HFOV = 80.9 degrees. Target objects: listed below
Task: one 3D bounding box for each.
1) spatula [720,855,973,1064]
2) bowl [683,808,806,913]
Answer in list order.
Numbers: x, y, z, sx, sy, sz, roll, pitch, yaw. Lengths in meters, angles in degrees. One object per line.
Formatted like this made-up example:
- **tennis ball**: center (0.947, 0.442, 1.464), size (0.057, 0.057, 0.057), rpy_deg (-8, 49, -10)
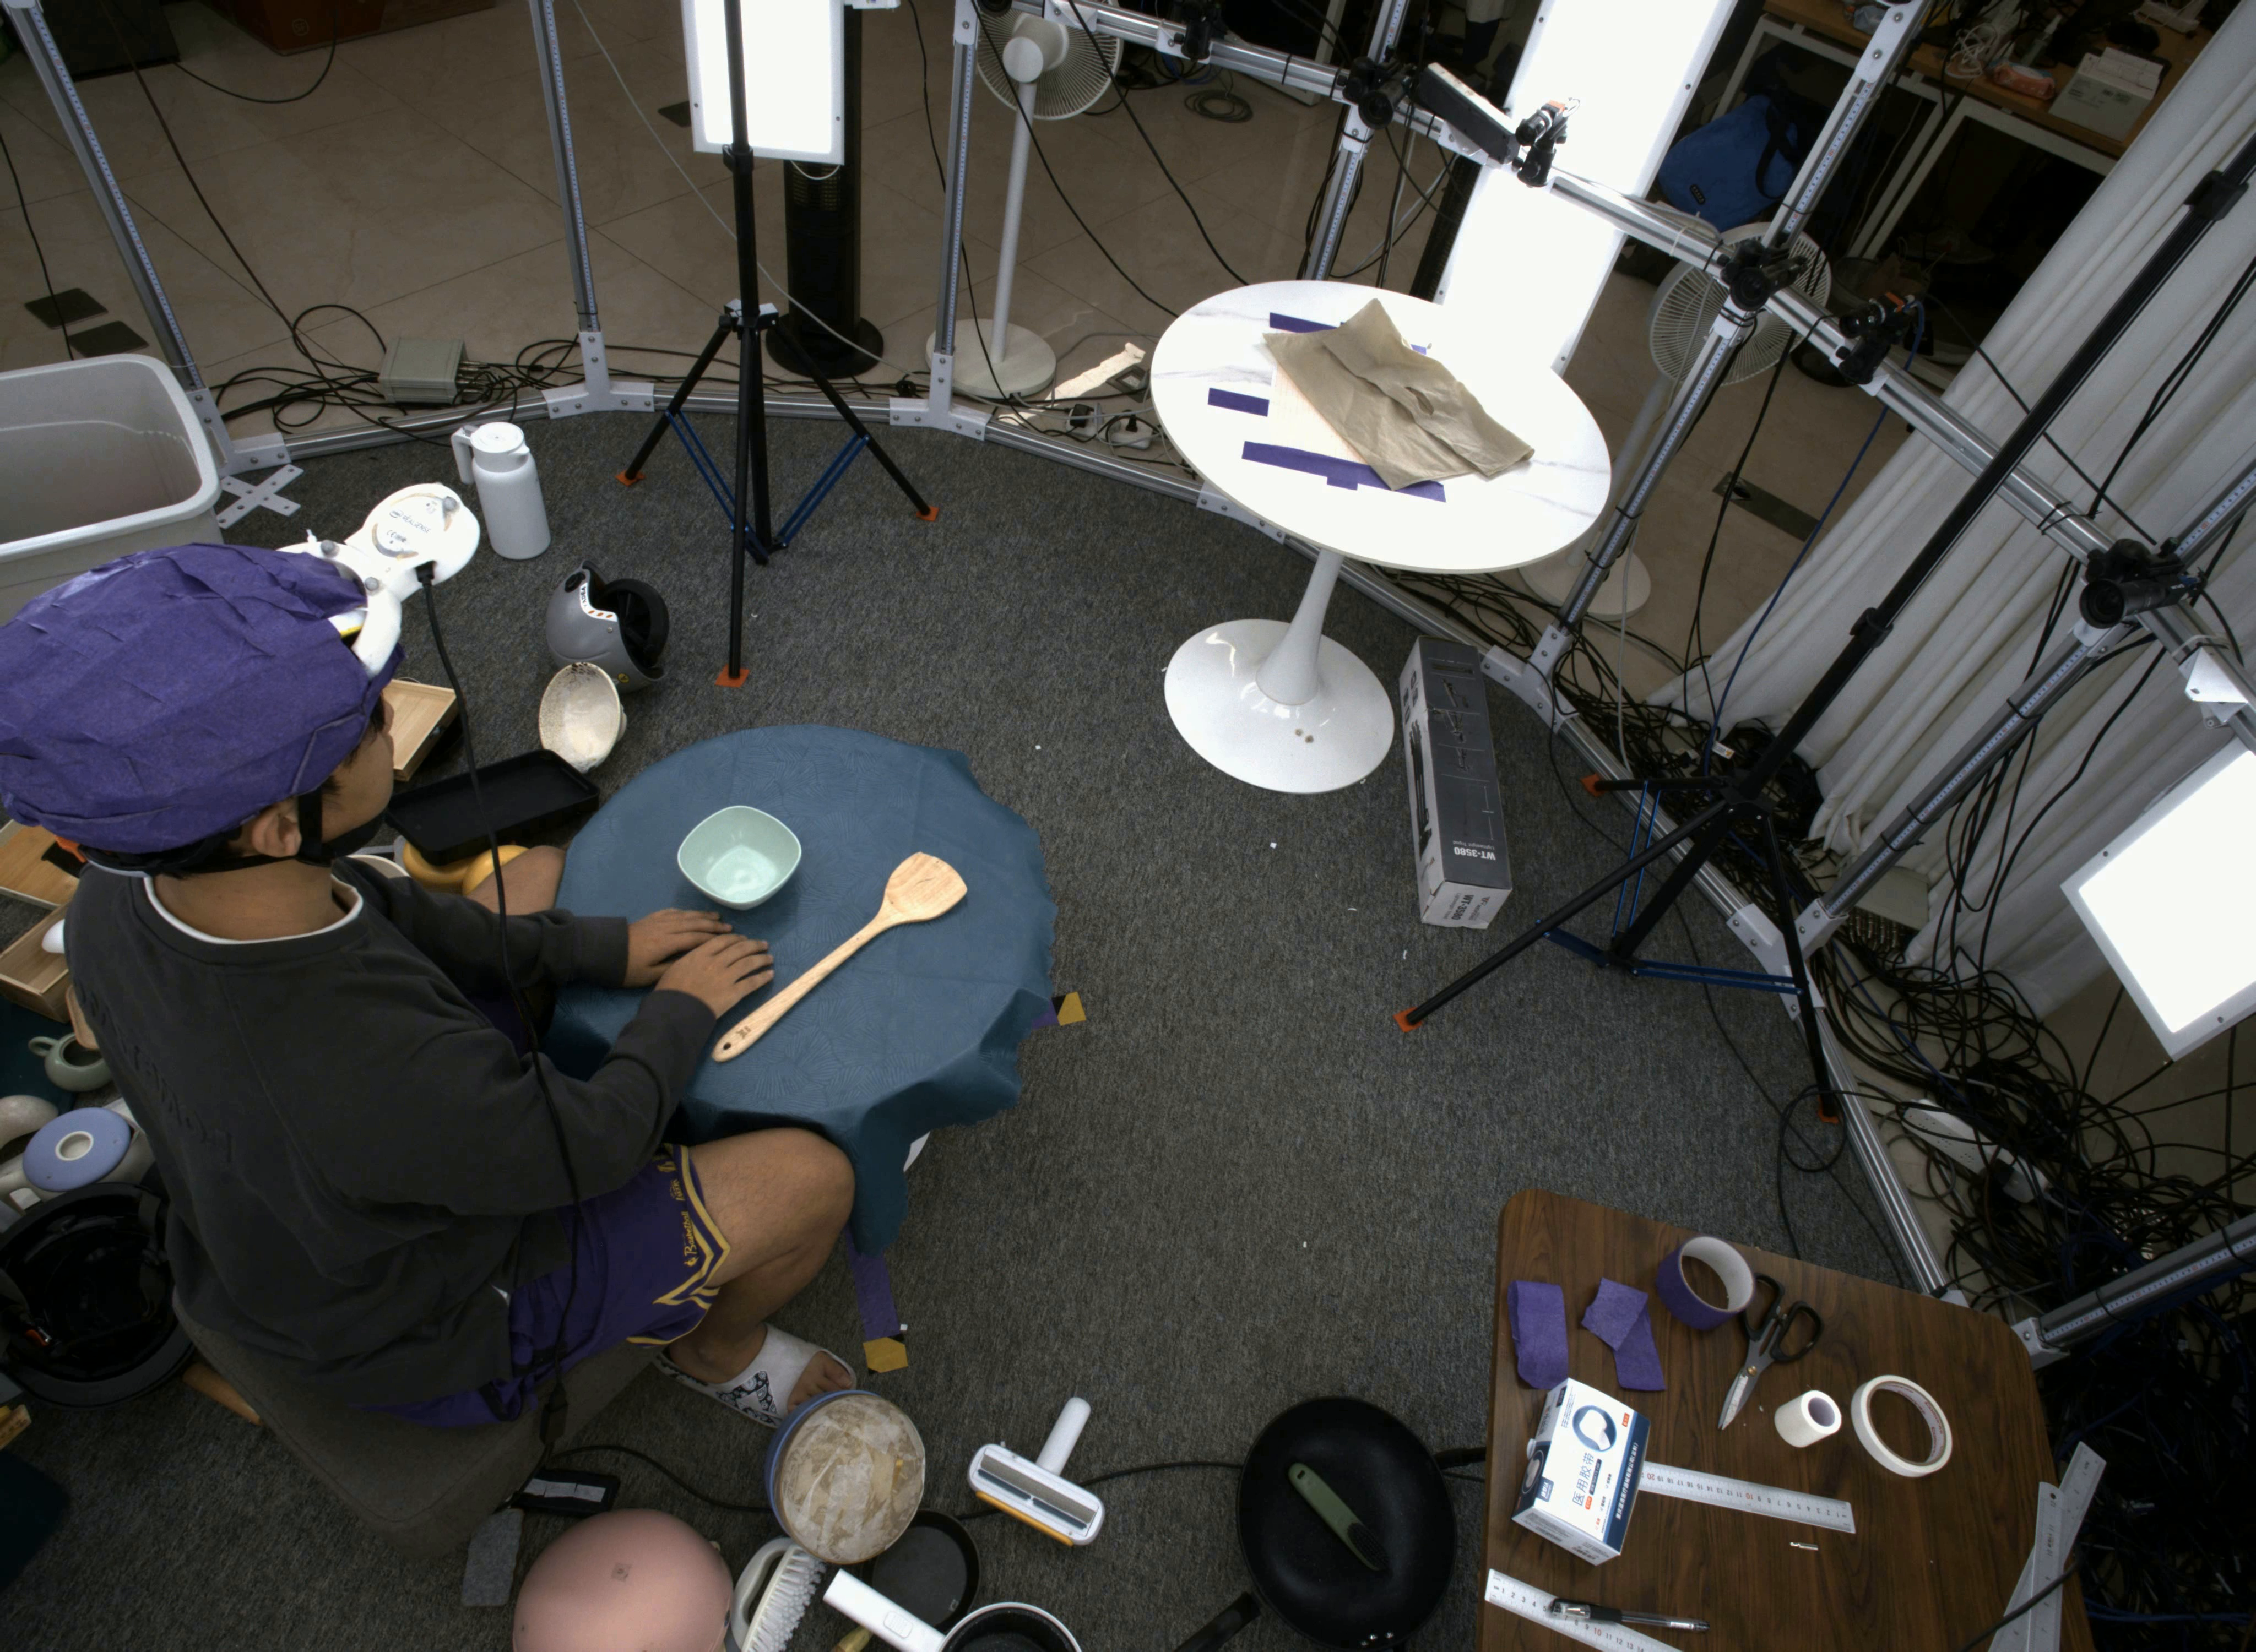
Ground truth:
- **spatula**: center (-0.349, 0.164, 1.614), size (0.093, 0.019, 0.391), rpy_deg (37, 53, 16)
- **bowl**: center (-0.485, 0.051, 1.640), size (0.151, 0.060, 0.148), rpy_deg (8, 50, -8)
